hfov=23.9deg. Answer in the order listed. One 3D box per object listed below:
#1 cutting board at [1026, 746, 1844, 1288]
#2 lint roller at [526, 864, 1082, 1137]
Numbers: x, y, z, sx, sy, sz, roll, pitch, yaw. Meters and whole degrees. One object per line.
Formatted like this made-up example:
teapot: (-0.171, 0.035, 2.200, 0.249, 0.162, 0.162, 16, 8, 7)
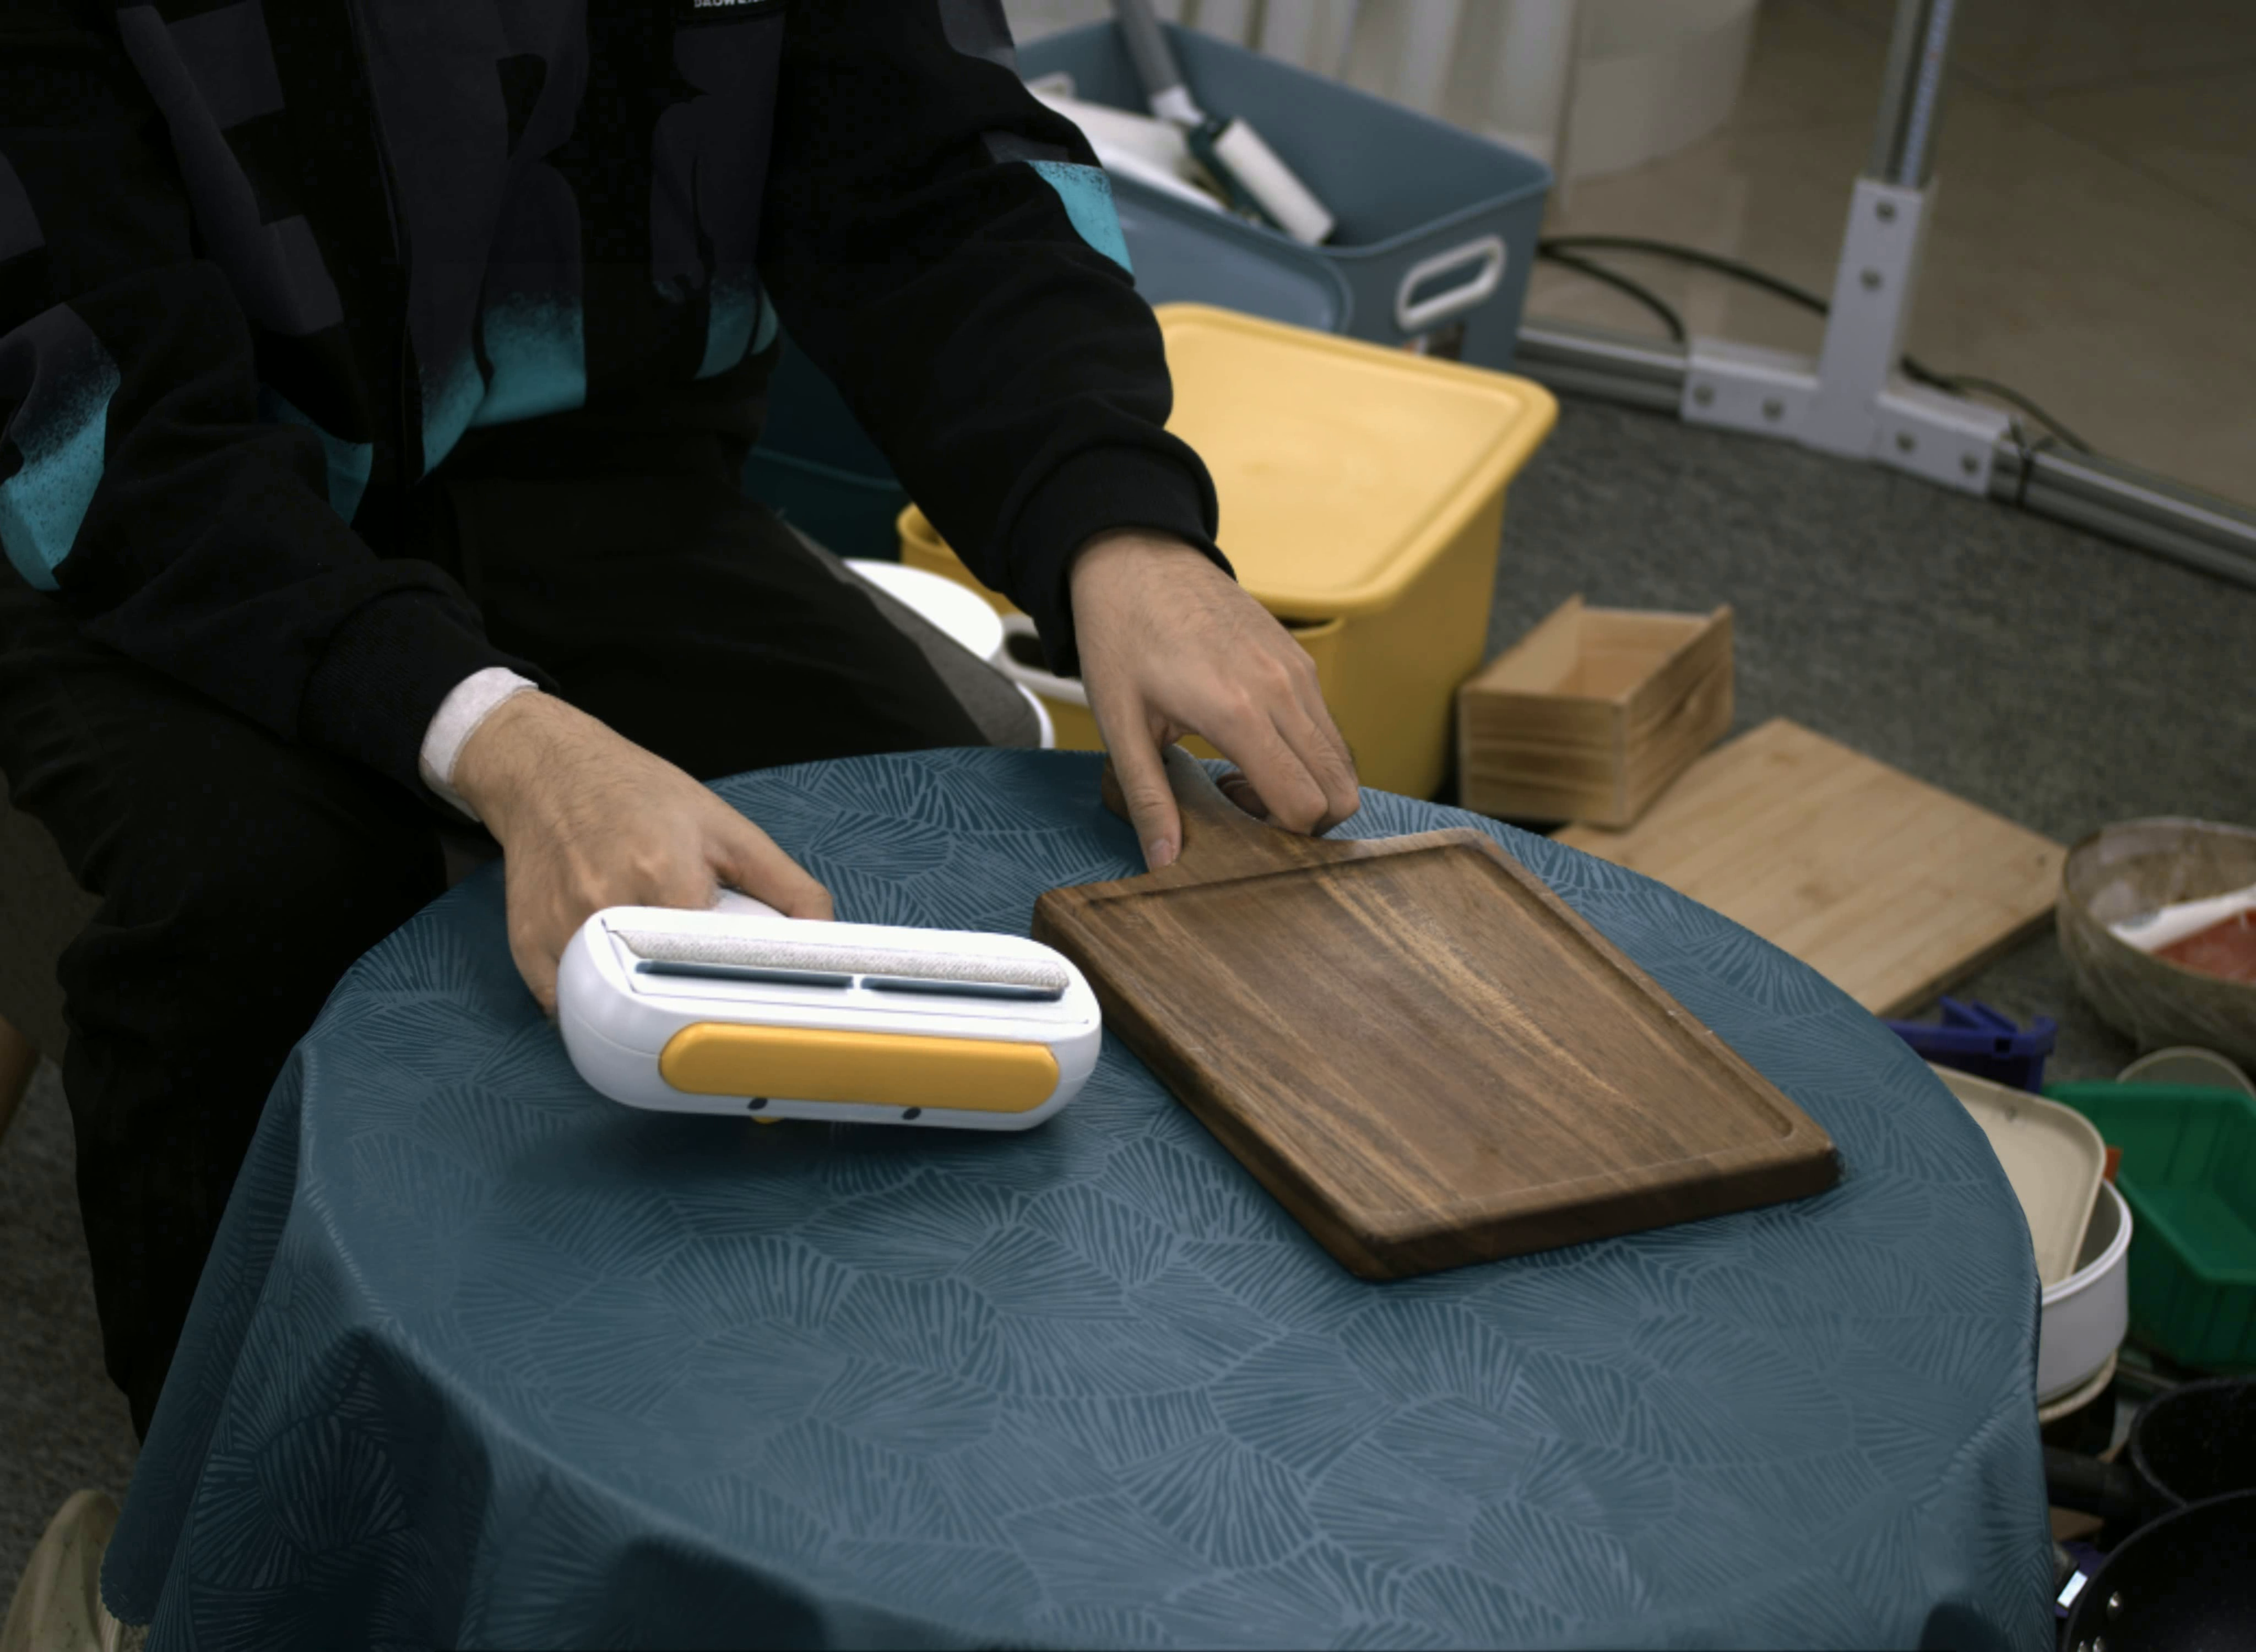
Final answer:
cutting board: (0.082, 0.055, 1.930, 0.200, 0.023, 0.355, -9, 30, -27)
lint roller: (-0.128, 0.047, 1.848, 0.191, 0.074, 0.194, 2, 25, -21)
